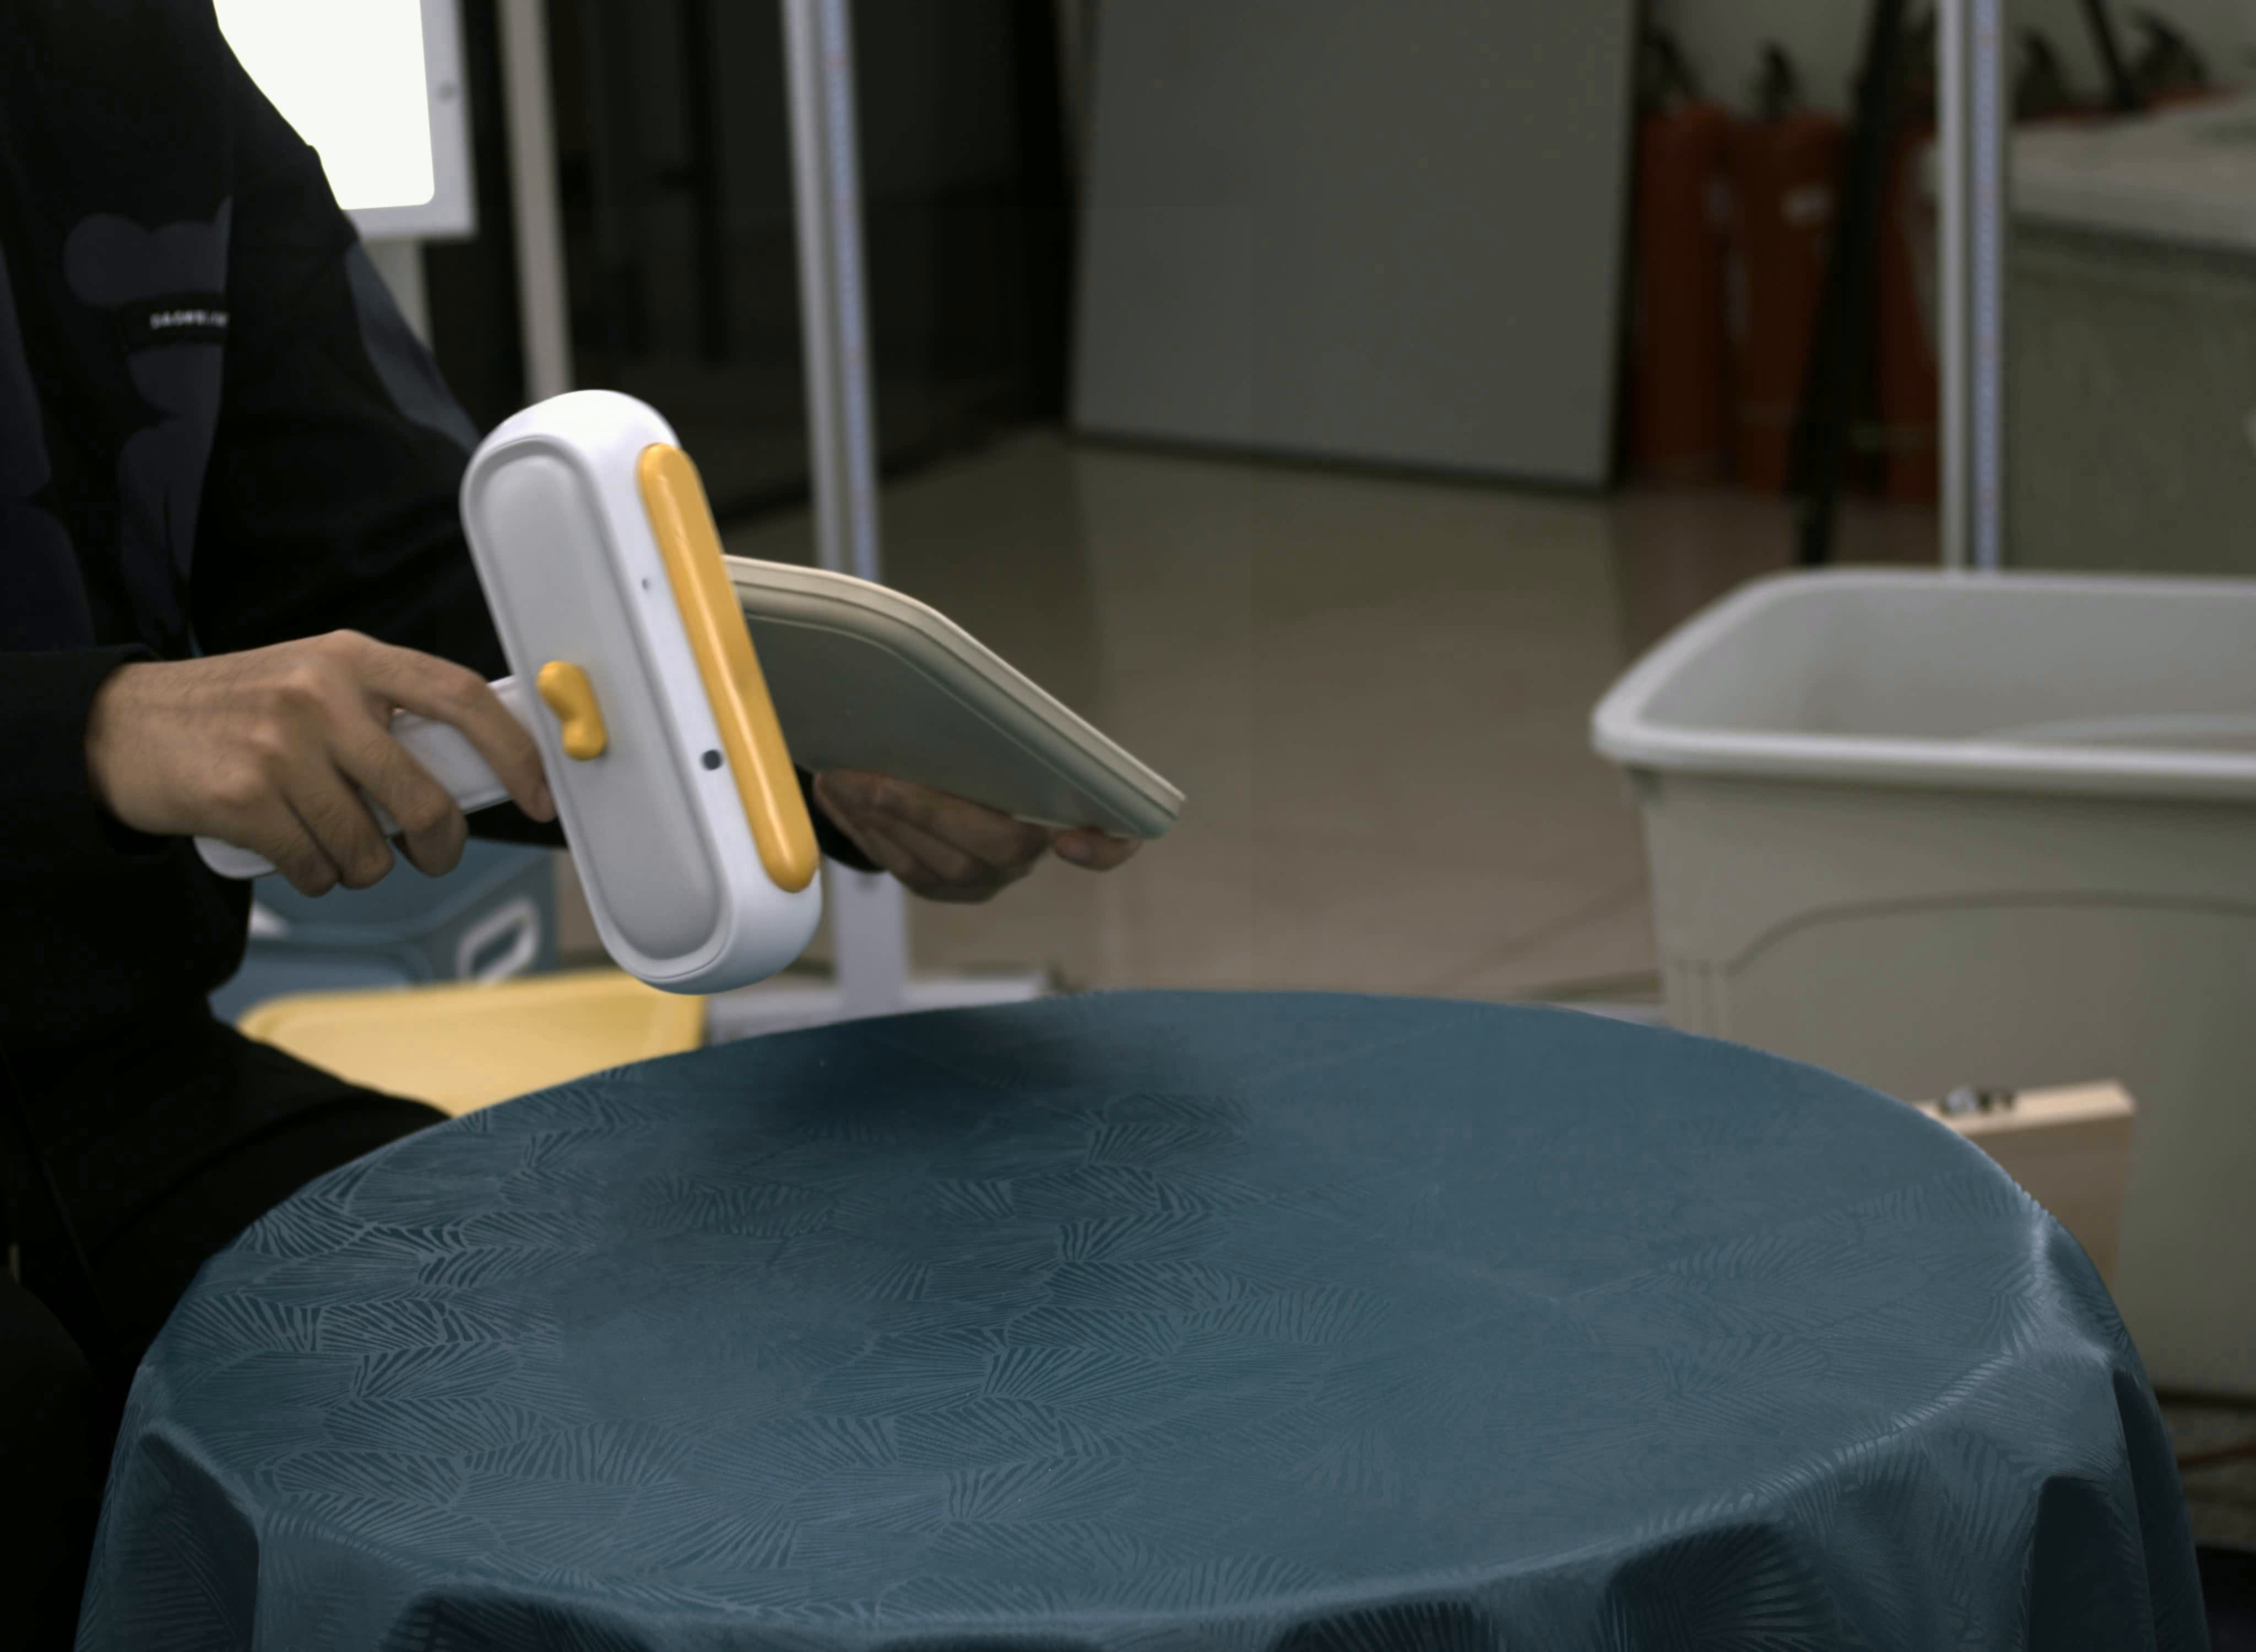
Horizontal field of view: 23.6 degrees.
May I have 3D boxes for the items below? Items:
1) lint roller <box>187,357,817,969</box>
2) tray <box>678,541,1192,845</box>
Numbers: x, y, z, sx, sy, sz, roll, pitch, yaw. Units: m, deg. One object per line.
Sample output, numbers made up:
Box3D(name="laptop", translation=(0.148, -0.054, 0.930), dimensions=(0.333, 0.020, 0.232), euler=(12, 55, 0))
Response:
Box3D(name="lint roller", translation=(-0.206, -0.027, 1.694), dimensions=(0.193, 0.194, 0.073), euler=(-22, 4, 27))
Box3D(name="tray", translation=(-0.092, -0.044, 1.848), dimensions=(0.172, 0.017, 0.236), euler=(9, -16, 32))
